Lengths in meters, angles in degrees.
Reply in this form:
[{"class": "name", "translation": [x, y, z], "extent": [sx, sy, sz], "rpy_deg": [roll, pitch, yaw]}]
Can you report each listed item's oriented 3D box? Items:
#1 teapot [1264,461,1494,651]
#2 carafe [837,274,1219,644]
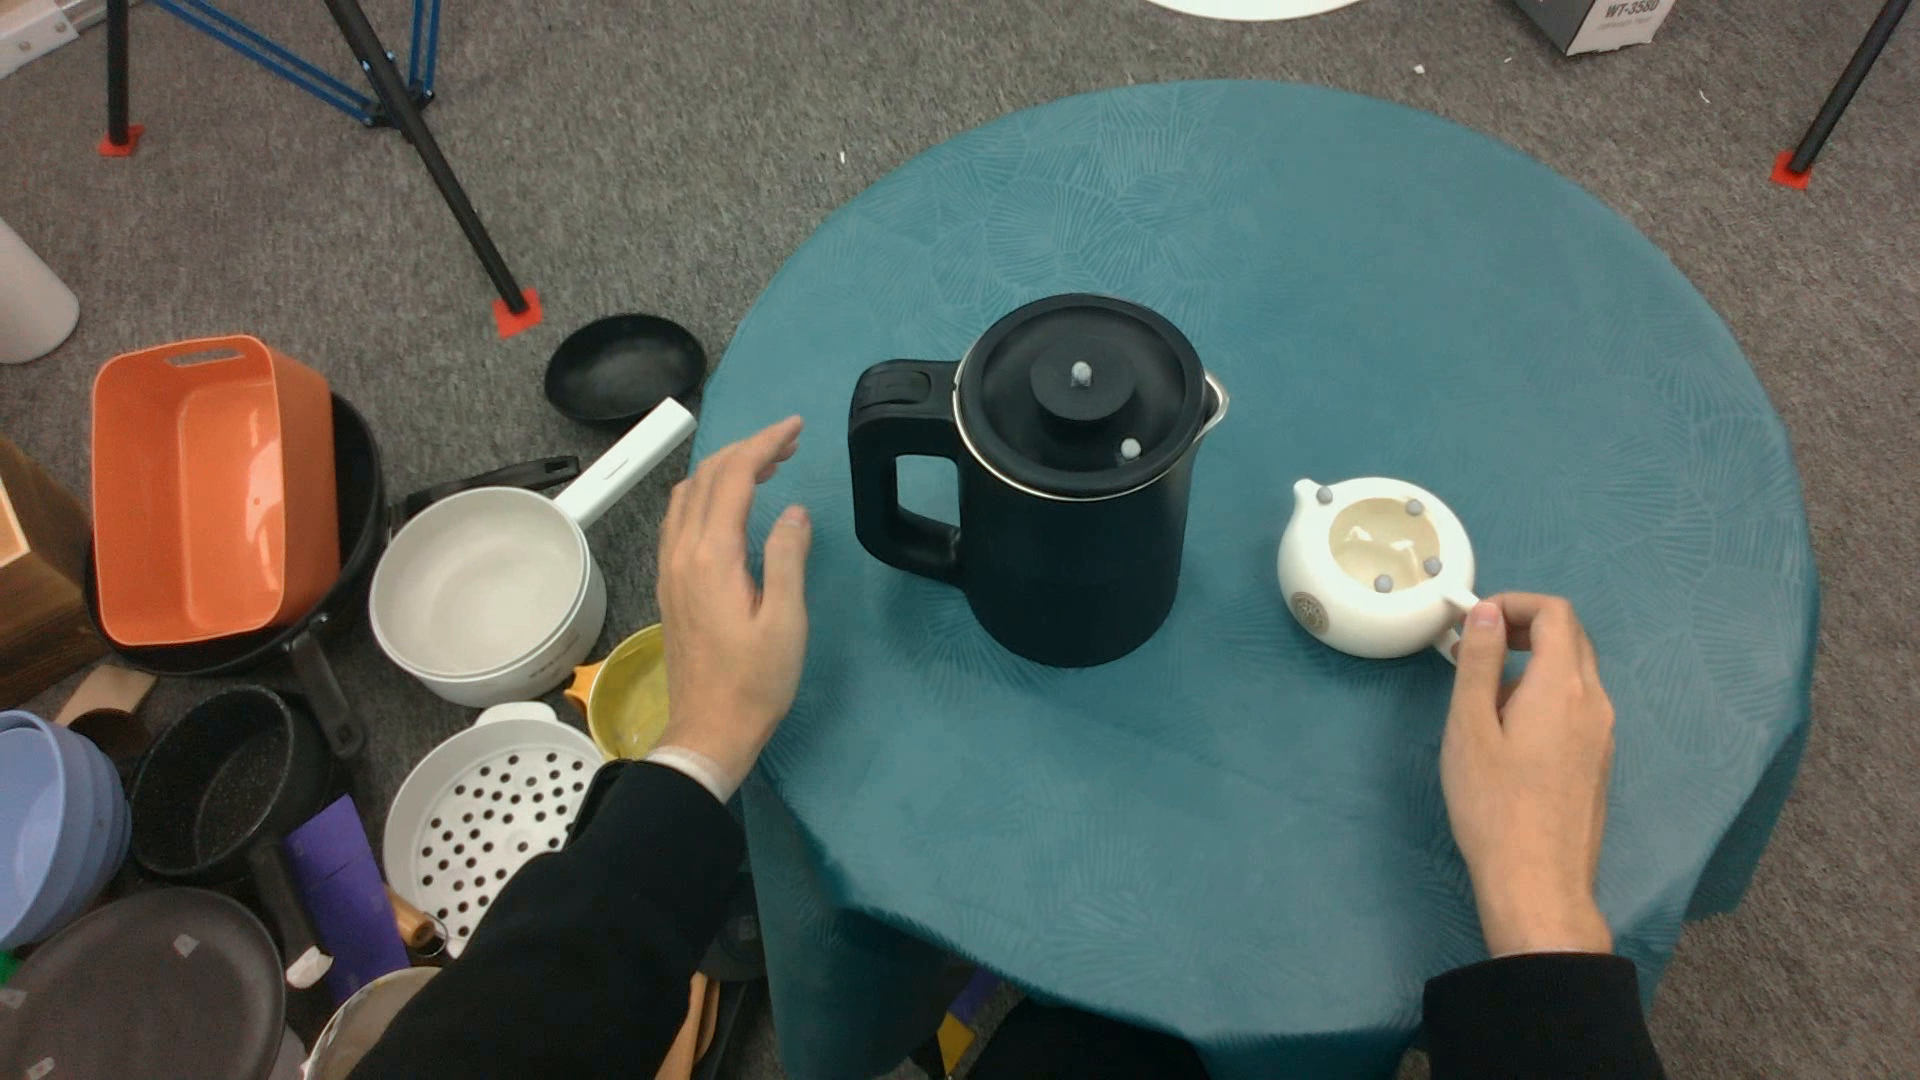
[{"class": "teapot", "translation": [0.208, 0.010, 0.683], "extent": [0.127, 0.056, 0.094], "rpy_deg": [33, 63, 19]}, {"class": "carafe", "translation": [0.026, -0.036, 0.654], "extent": [0.171, 0.172, 0.115], "rpy_deg": [3, 62, 2]}]
